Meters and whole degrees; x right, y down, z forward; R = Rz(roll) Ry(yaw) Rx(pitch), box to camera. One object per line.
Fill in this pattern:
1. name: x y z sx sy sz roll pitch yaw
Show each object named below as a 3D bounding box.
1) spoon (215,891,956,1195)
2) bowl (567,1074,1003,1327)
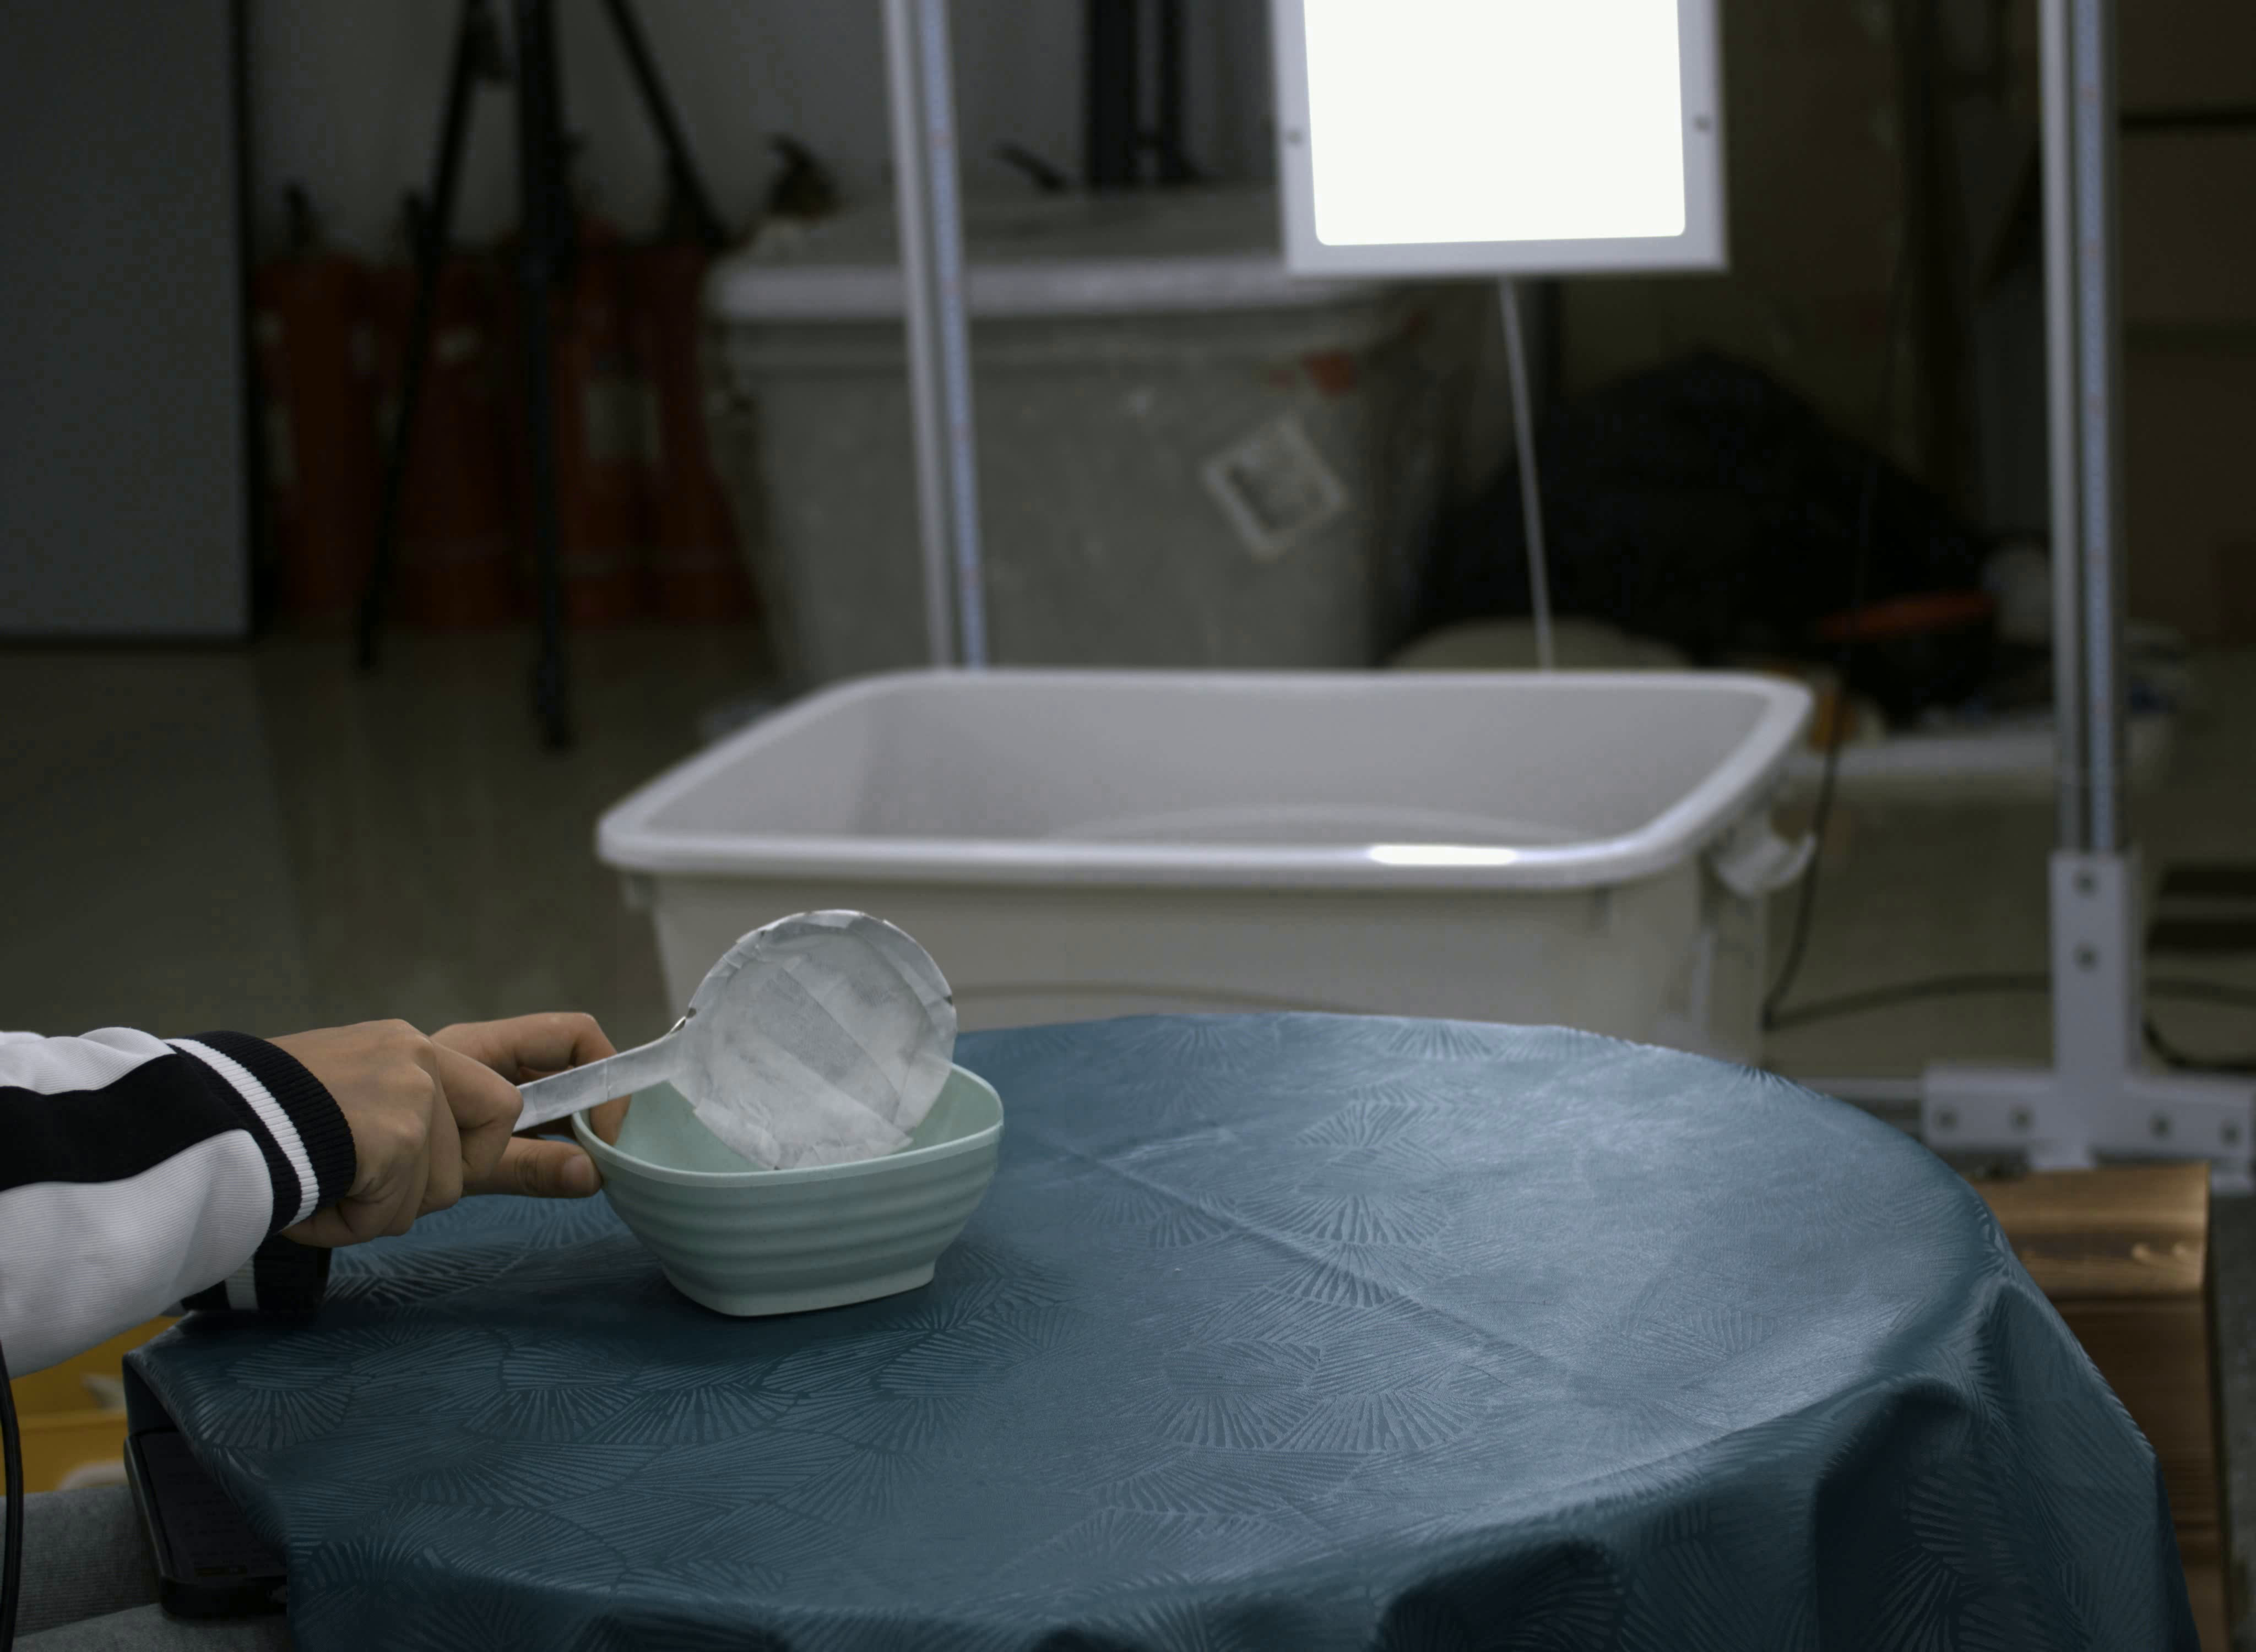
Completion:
1. spoon: -0.167 0.083 1.756 0.060 0.101 0.270 10 16 40
2. bowl: -0.113 0.124 1.834 0.151 0.059 0.151 -3 13 -1
